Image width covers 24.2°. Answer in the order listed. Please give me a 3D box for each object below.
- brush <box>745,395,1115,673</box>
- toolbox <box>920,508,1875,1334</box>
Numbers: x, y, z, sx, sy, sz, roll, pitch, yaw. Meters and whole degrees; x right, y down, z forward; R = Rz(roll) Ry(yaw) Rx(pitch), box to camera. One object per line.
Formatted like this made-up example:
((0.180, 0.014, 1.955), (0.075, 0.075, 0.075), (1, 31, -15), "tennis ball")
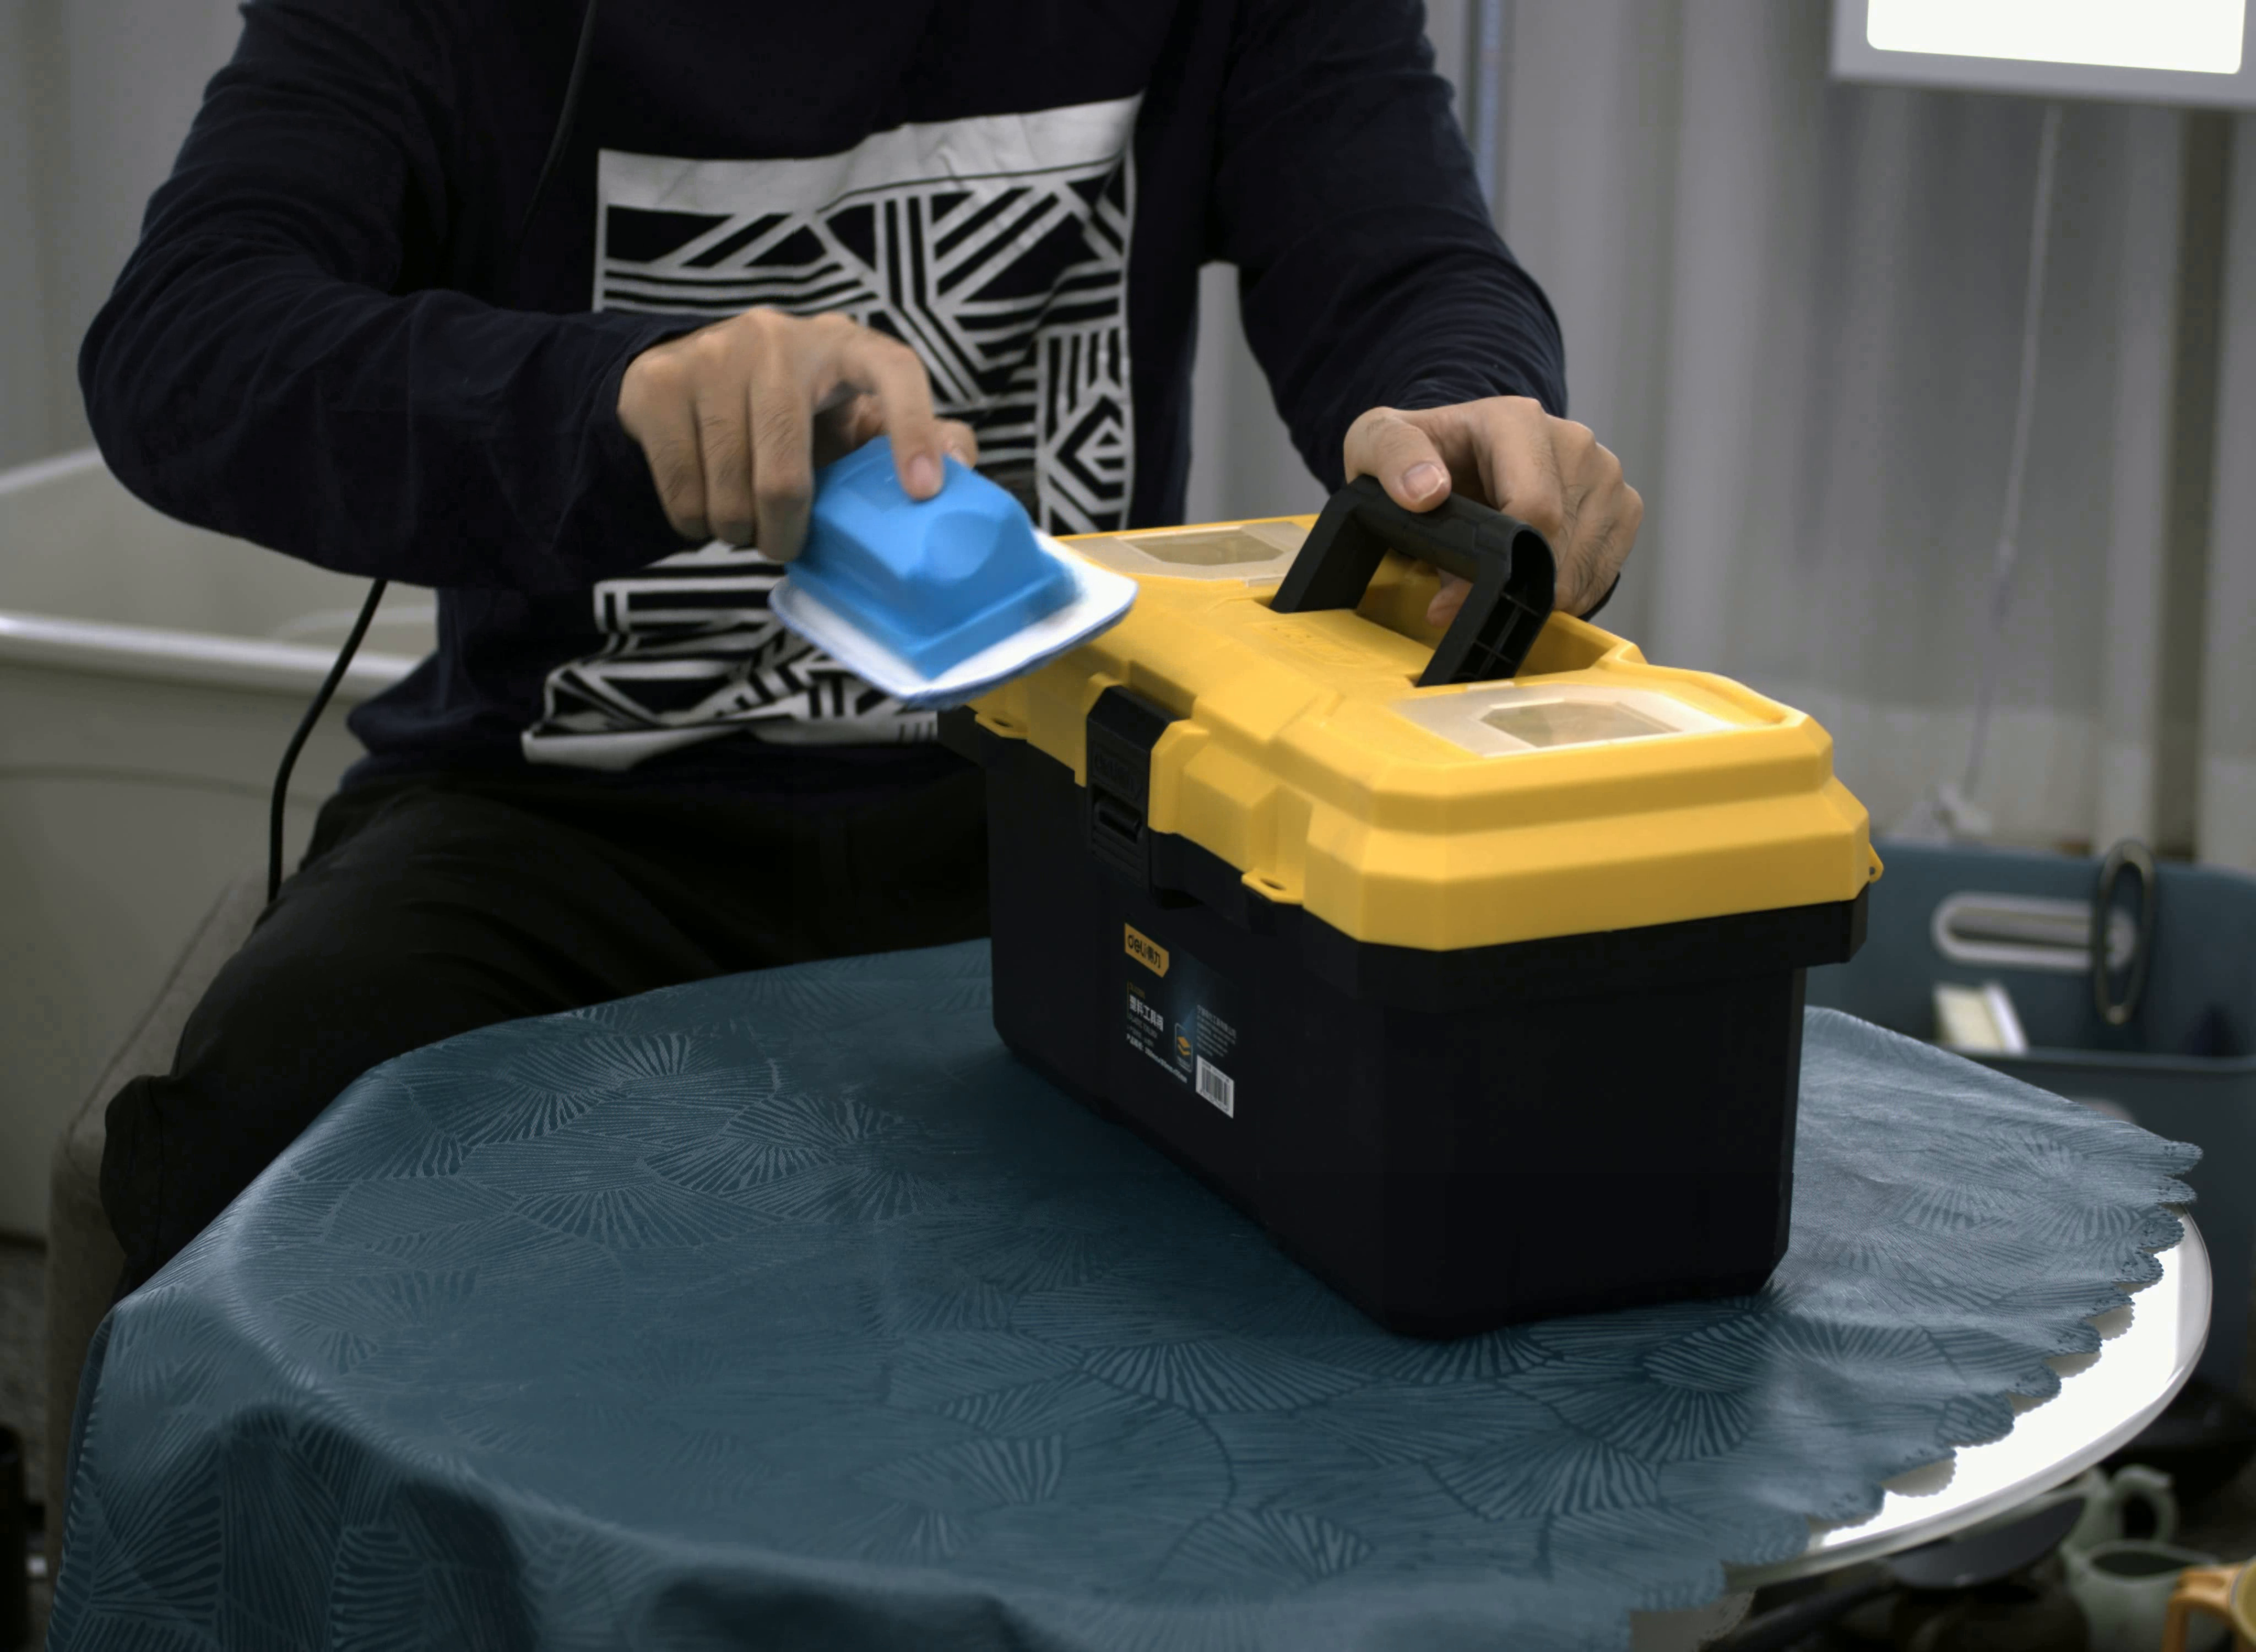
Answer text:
((-0.064, -0.092, 1.601), (0.084, 0.056, 0.142), (-24, 27, -15), "brush")
((0.074, 0.021, 1.632), (0.182, 0.174, 0.347), (-6, 17, -23), "toolbox")
